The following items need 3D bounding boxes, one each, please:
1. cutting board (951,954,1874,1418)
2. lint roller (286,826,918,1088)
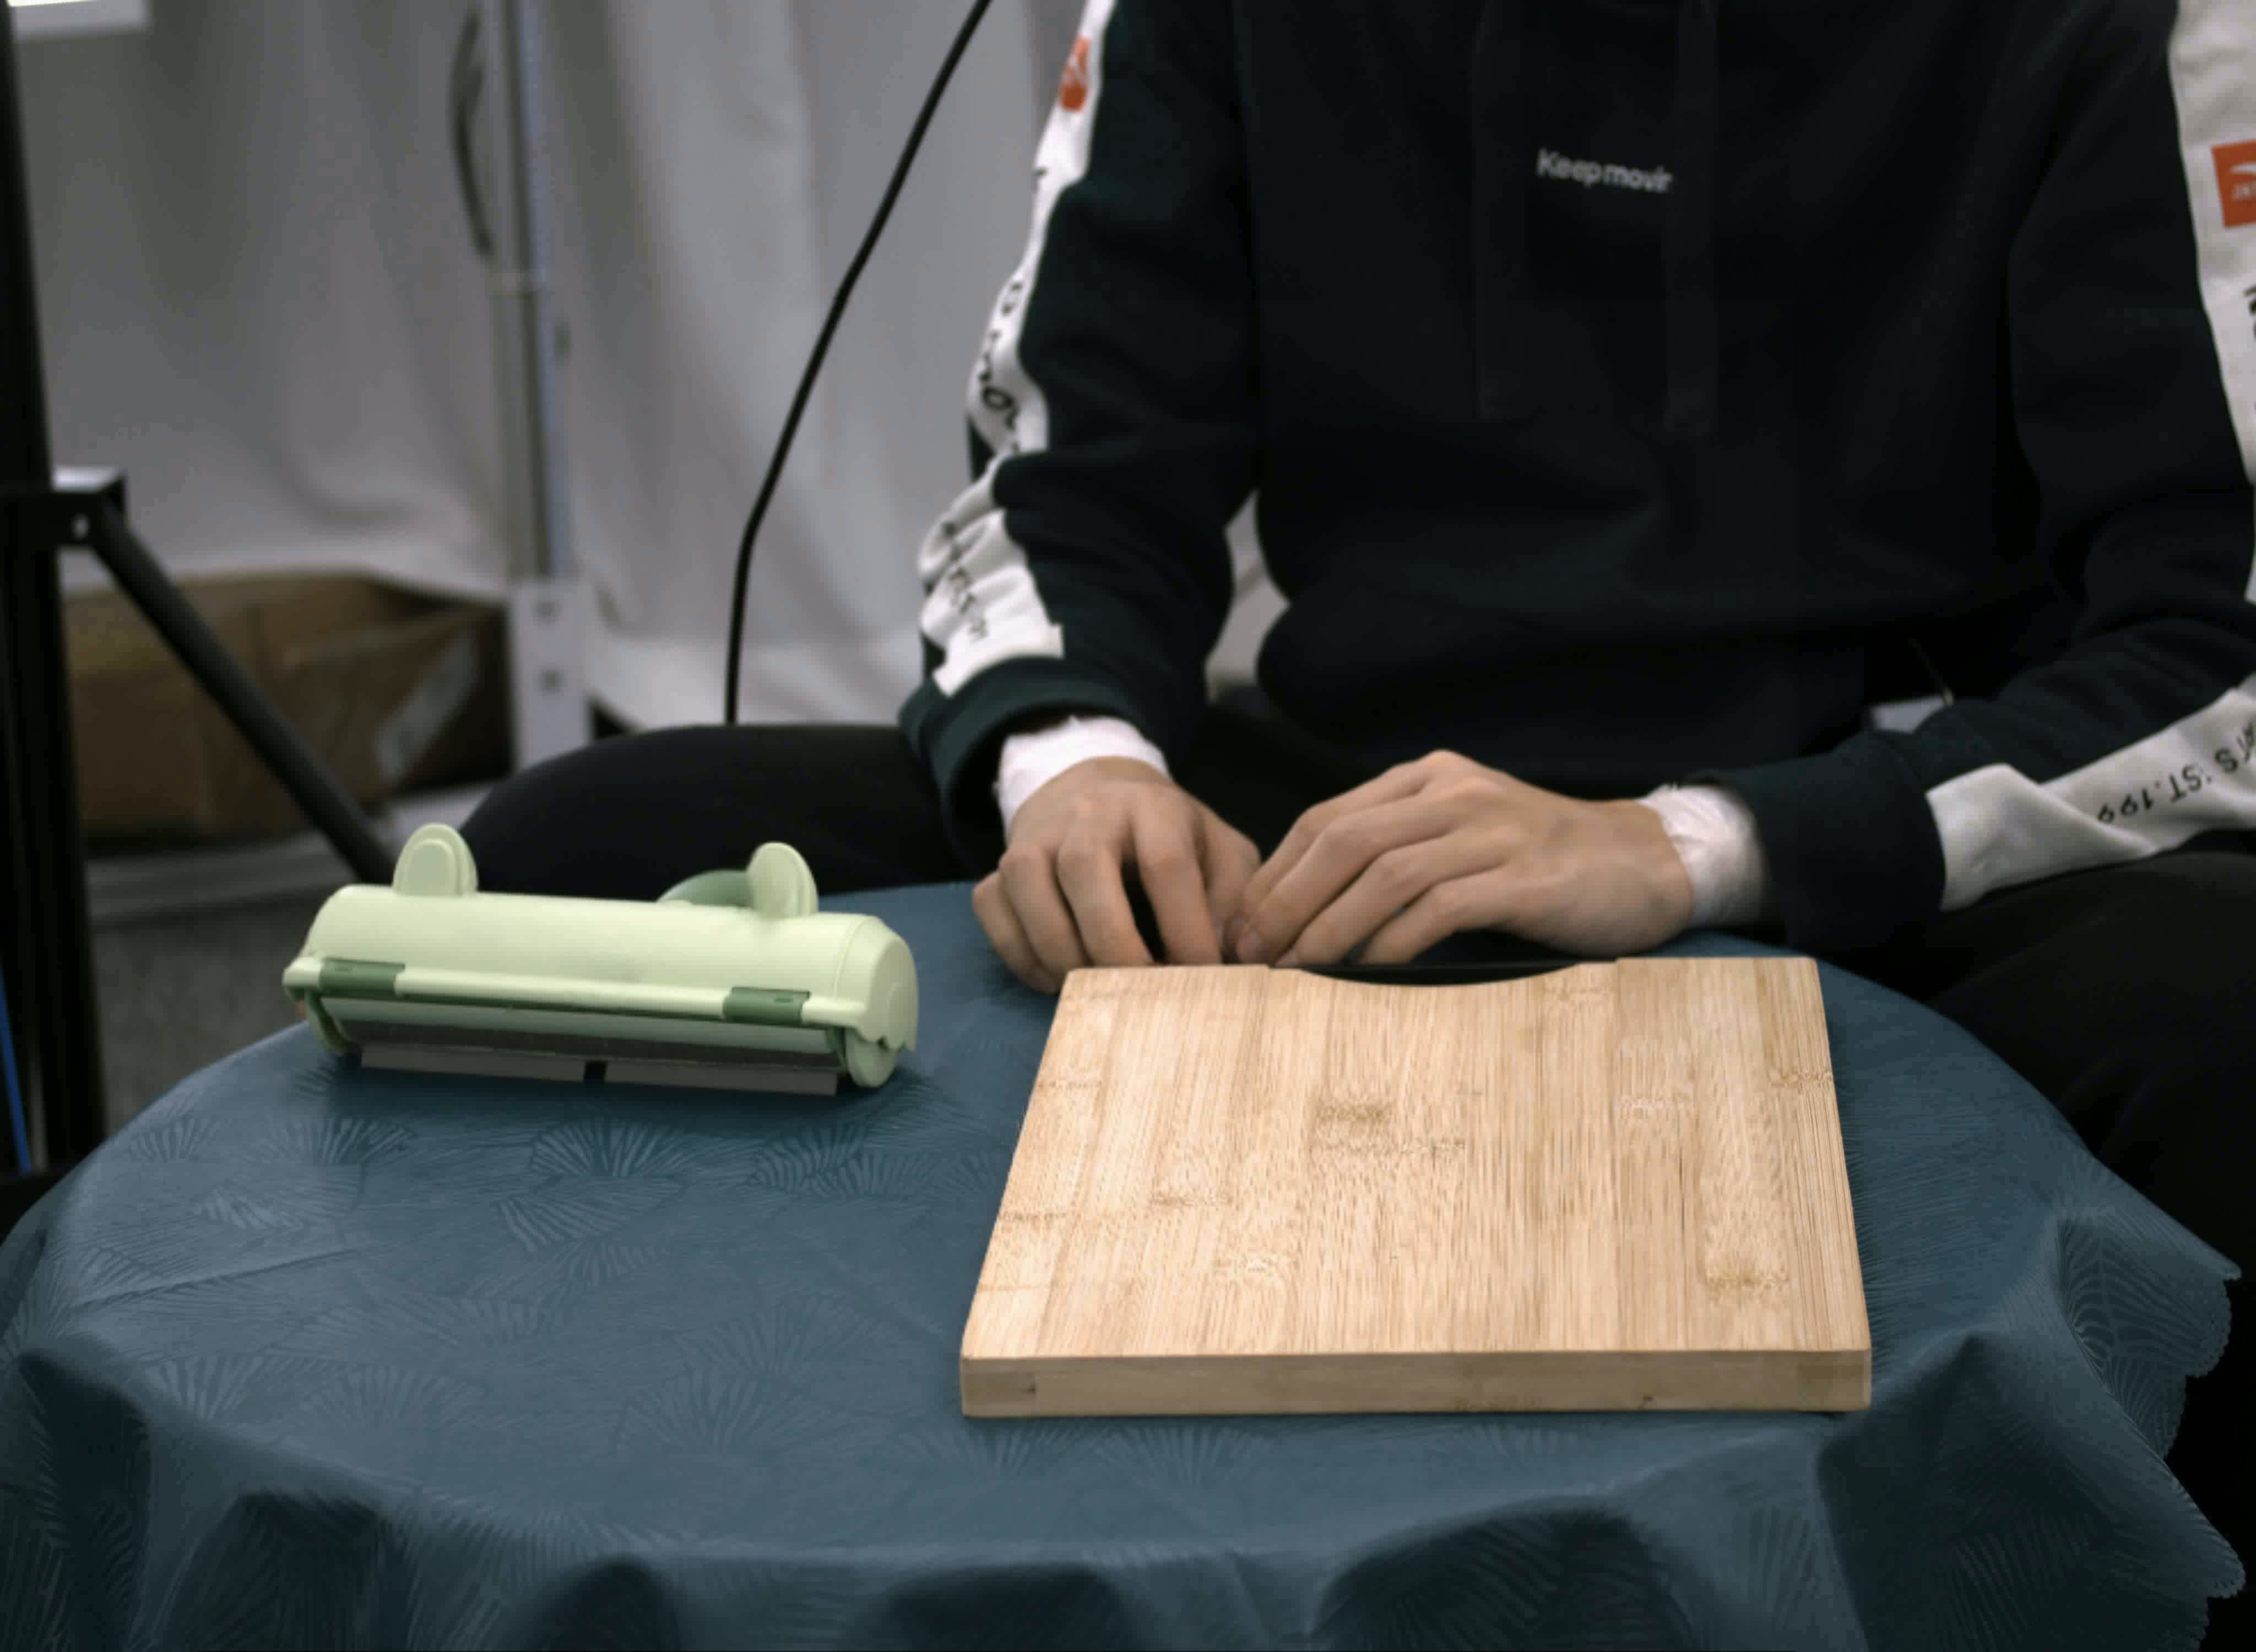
[{"bbox_3d":[0.088,0.100,1.544,0.250,0.023,0.349,-1,16,5],"label":"cutting board"},{"bbox_3d":[-0.150,0.025,1.734,0.201,0.082,0.182,2,21,19],"label":"lint roller"}]
